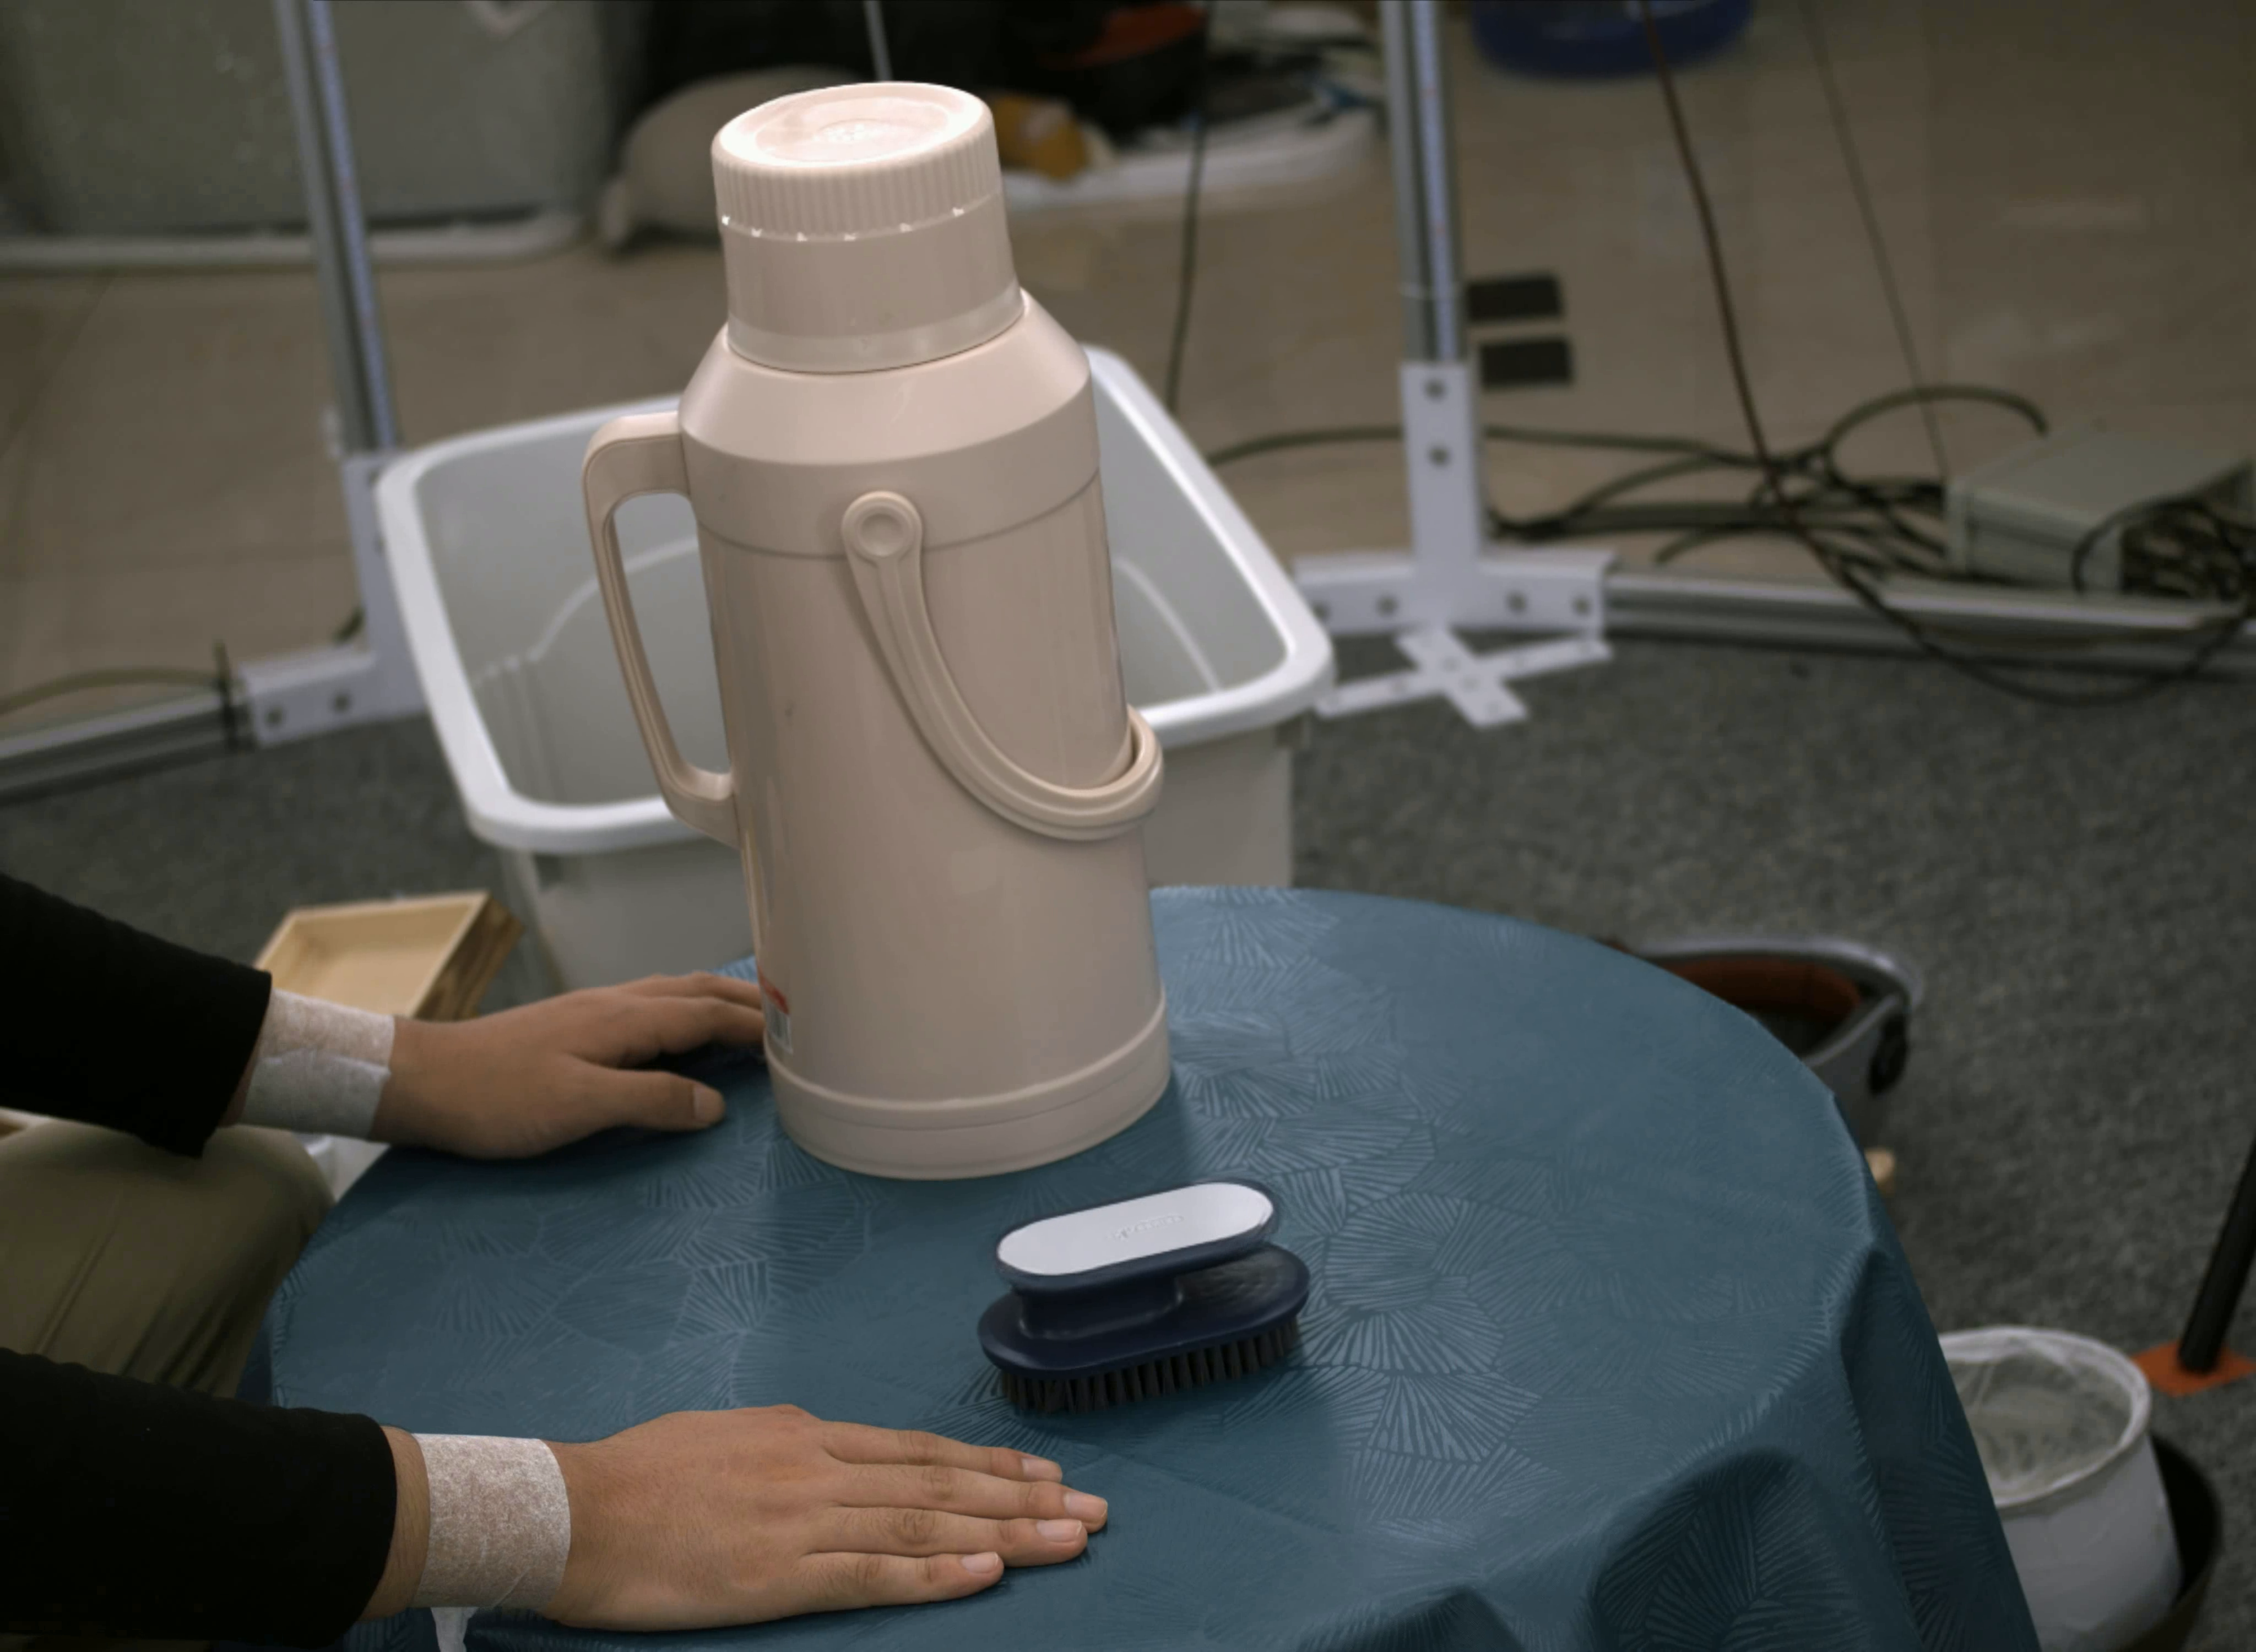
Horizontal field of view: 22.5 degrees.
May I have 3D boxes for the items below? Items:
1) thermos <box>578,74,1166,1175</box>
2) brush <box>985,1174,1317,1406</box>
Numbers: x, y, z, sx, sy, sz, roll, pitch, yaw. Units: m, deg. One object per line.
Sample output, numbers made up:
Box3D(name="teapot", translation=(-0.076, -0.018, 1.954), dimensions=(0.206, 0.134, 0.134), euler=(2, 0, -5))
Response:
Box3D(name="thermos", translation=(-0.096, -0.076, 2.156), dimensions=(0.207, 0.413, 0.172), euler=(-5, 27, 2))
Box3D(name="brush", translation=(0.008, 0.167, 2.020), dimensions=(0.121, 0.062, 0.067), euler=(-11, 23, -11))
